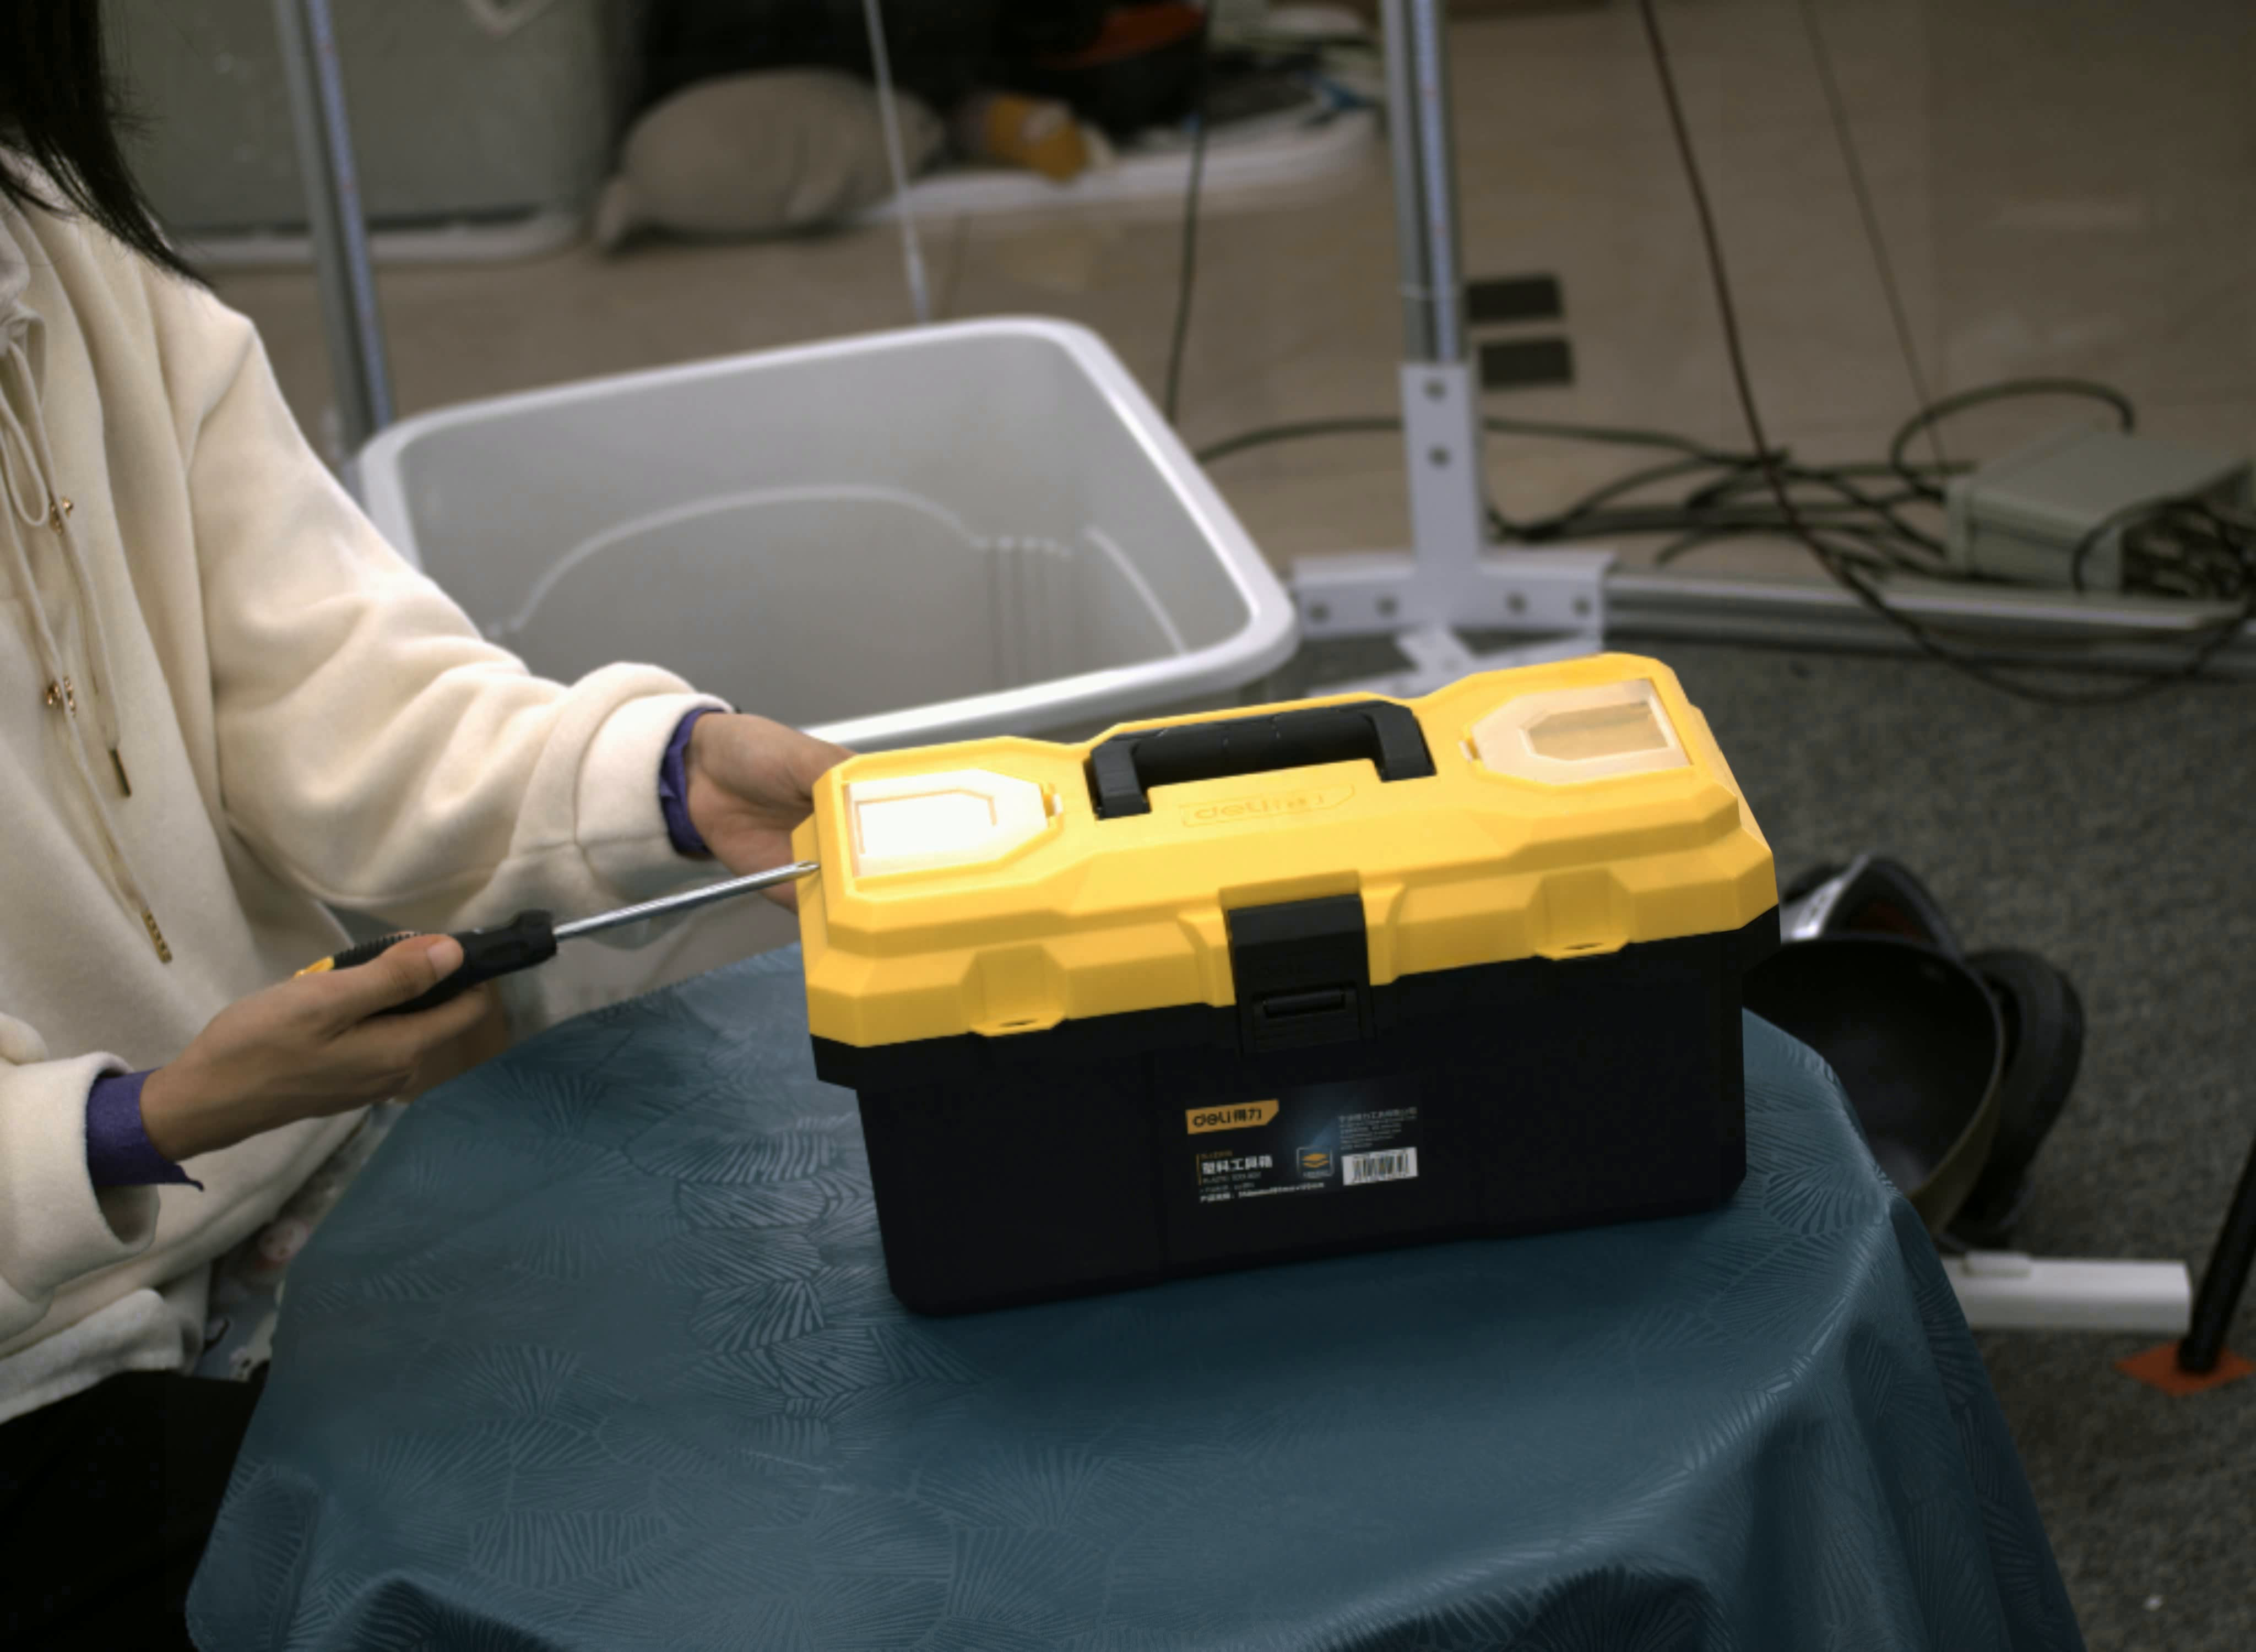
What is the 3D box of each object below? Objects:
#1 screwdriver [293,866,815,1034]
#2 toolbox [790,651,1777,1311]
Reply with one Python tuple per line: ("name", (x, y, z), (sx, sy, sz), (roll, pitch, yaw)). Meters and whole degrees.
("screwdriver", (-0.206, 0.043, 2.058), (0.196, 0.032, 0.031), (-12, 26, -7))
("toolbox", (0.057, 0.059, 2.098), (0.351, 0.175, 0.178), (-7, 25, -2))
